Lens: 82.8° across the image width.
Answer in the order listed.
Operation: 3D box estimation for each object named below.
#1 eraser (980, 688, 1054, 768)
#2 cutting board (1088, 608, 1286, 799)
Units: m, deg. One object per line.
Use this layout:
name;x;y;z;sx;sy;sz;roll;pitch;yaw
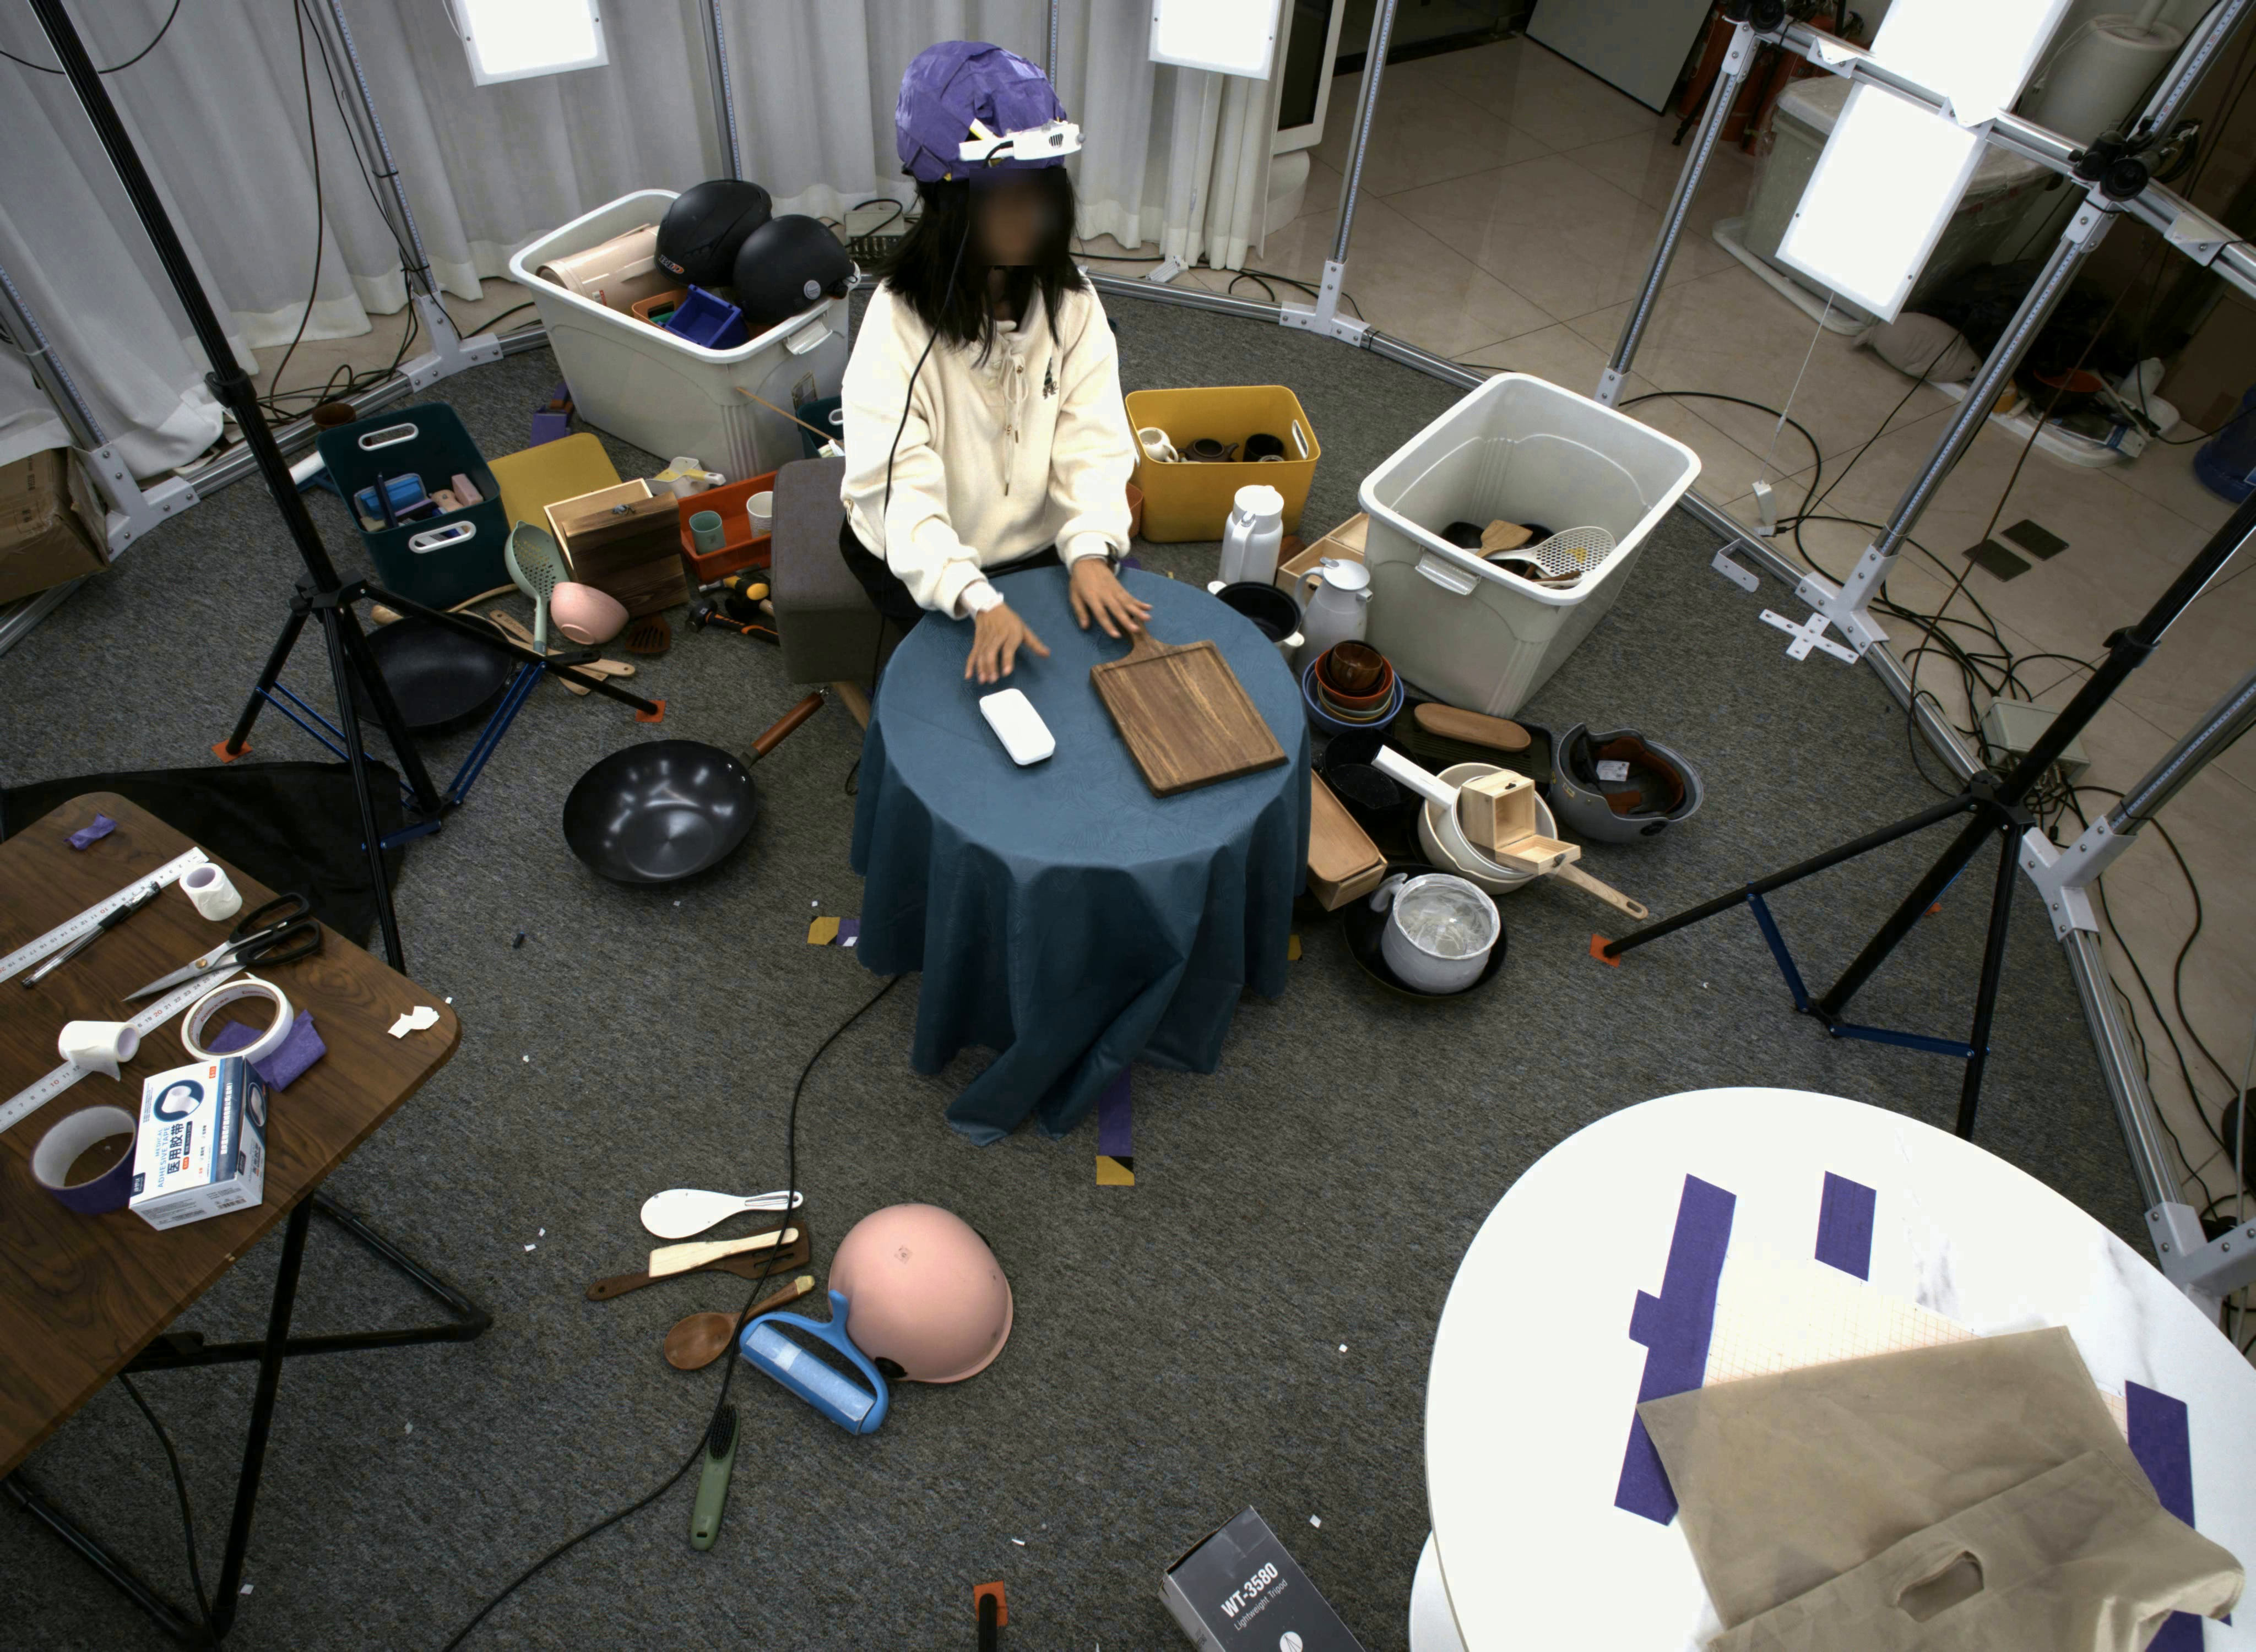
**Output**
eraser;-0.152;-0.138;1.759;0.063;0.034;0.134;-20;54;-19
cutting board;0.060;-0.192;1.827;0.201;0.022;0.360;-15;52;-17
